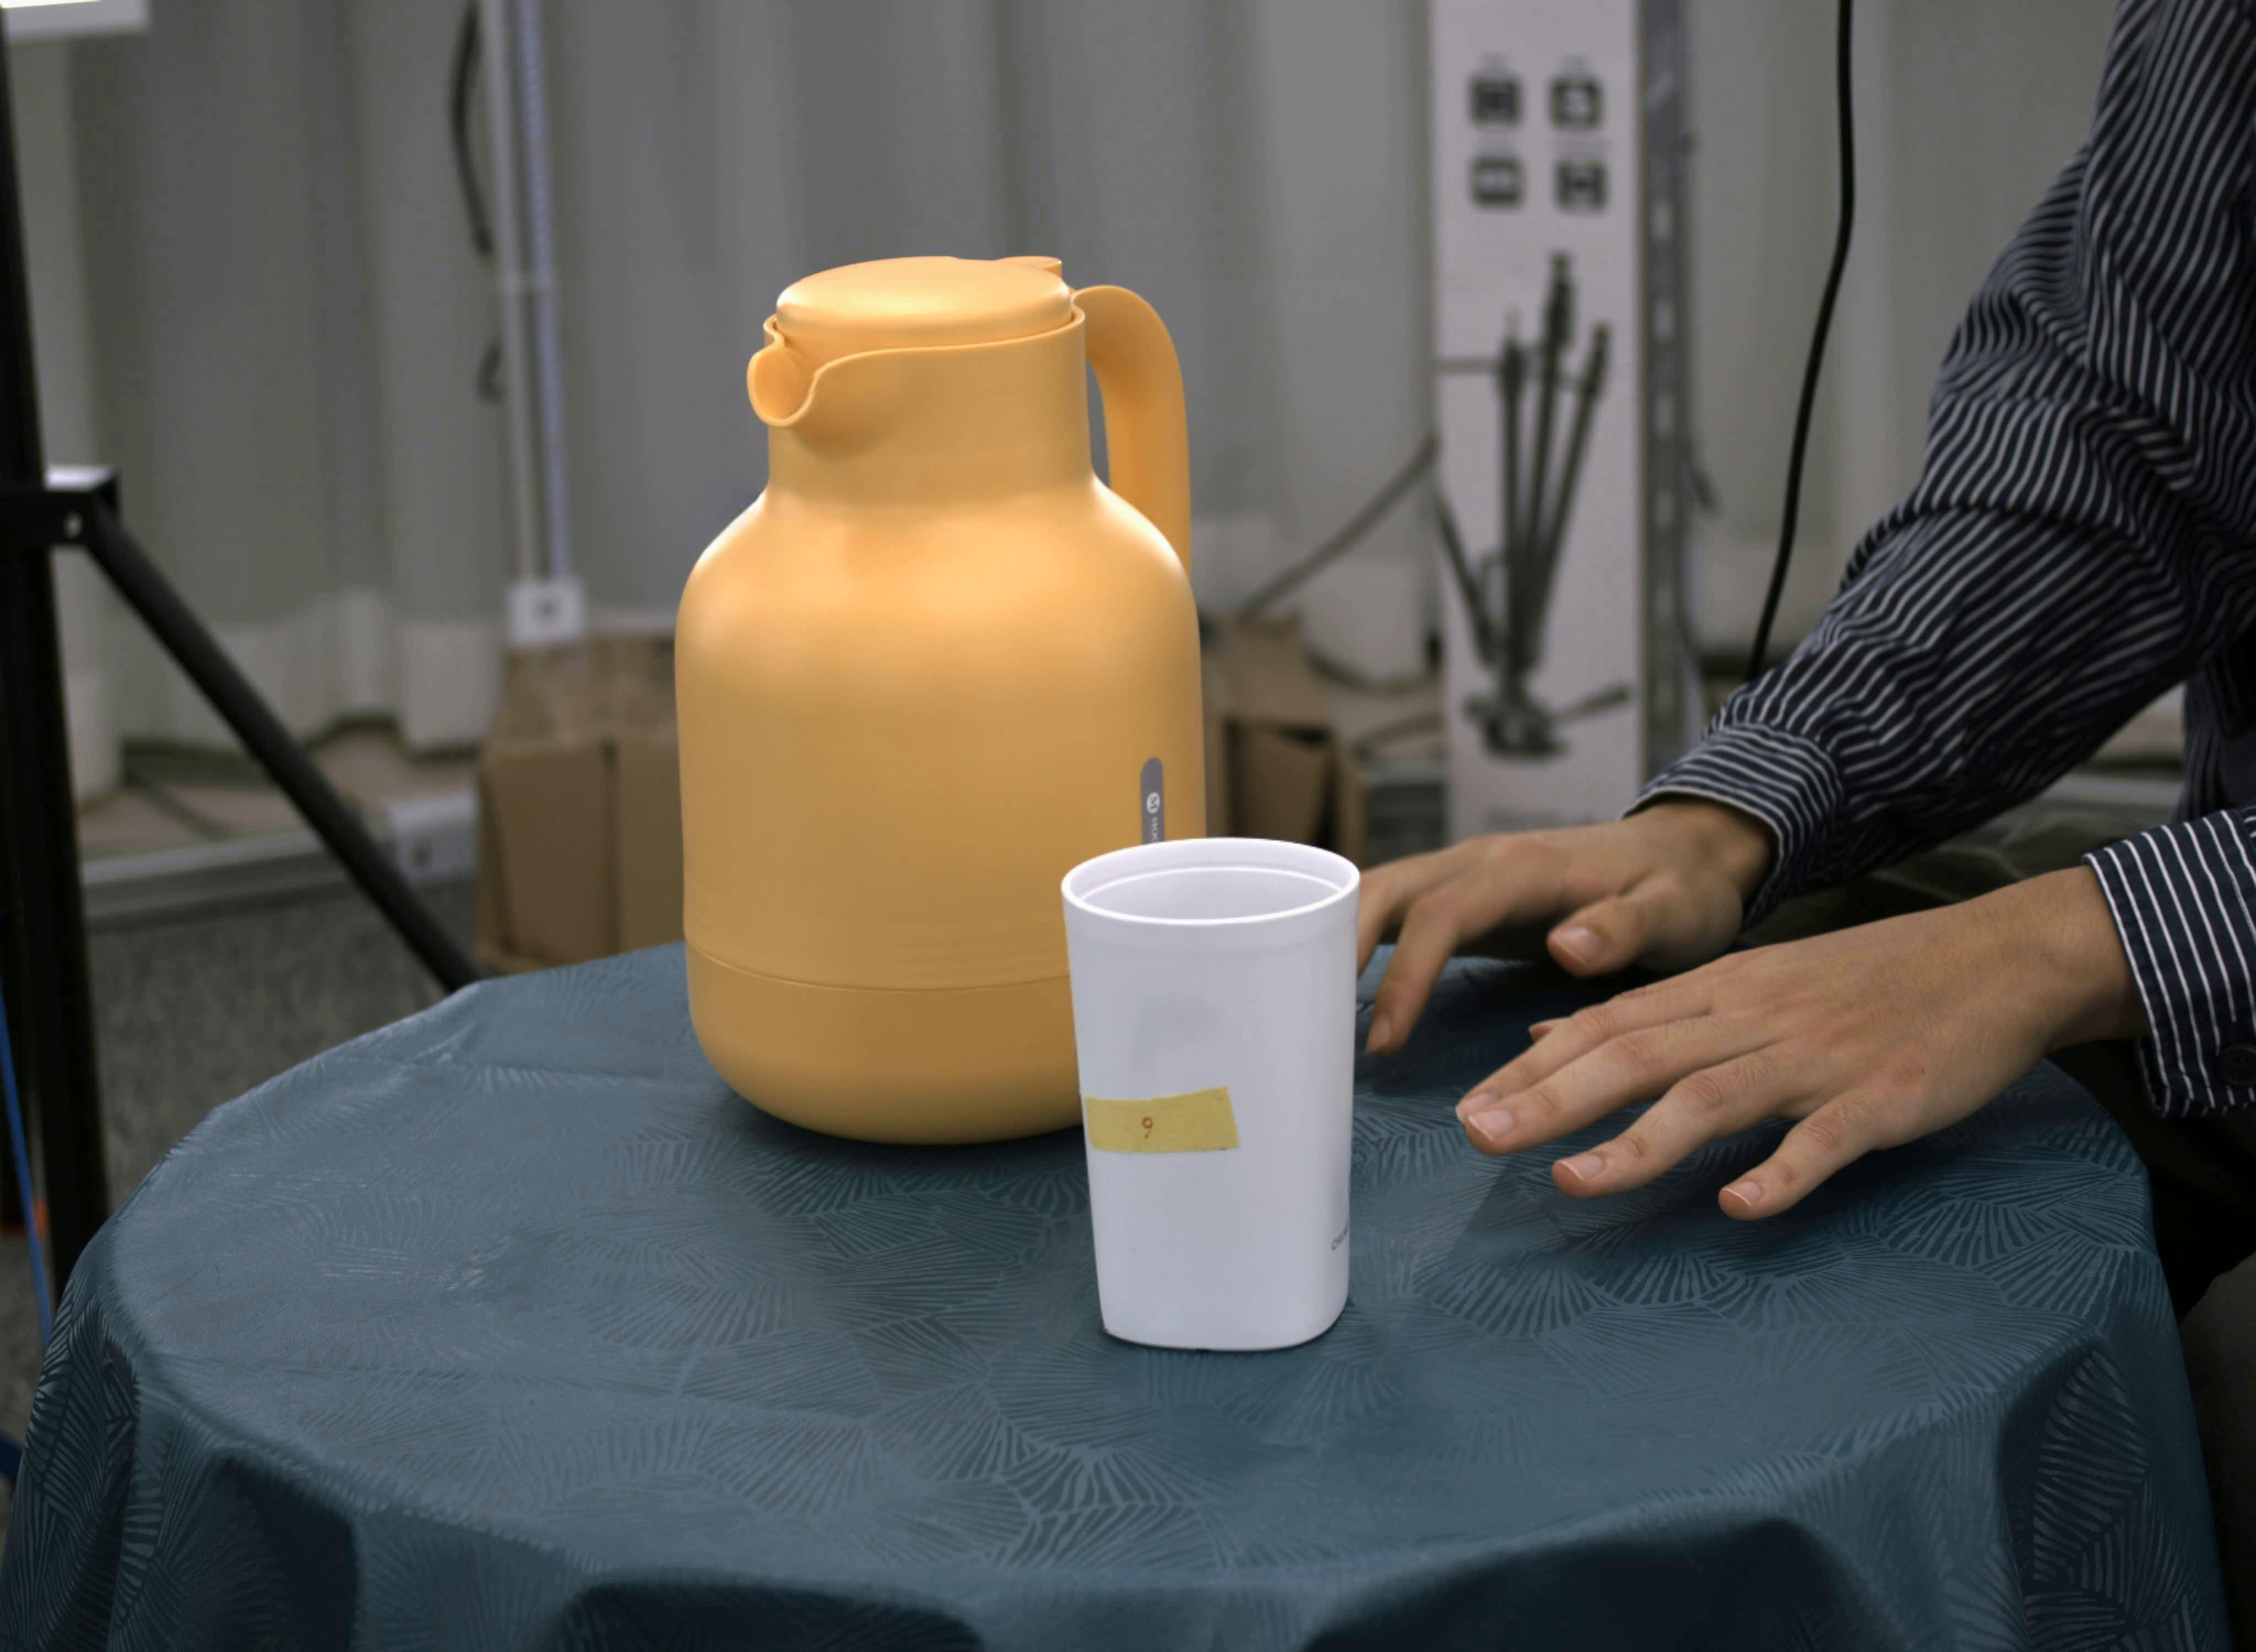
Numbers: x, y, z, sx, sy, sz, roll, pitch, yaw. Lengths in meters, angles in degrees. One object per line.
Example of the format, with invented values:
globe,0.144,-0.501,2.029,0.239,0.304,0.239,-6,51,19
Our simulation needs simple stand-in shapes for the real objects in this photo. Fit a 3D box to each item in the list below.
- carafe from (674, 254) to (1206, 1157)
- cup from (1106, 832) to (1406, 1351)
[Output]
carafe,-0.046,-0.044,1.630,0.166,0.260,0.198,10,19,32
cup,0.037,0.073,1.444,0.081,0.125,0.082,-2,15,-1
